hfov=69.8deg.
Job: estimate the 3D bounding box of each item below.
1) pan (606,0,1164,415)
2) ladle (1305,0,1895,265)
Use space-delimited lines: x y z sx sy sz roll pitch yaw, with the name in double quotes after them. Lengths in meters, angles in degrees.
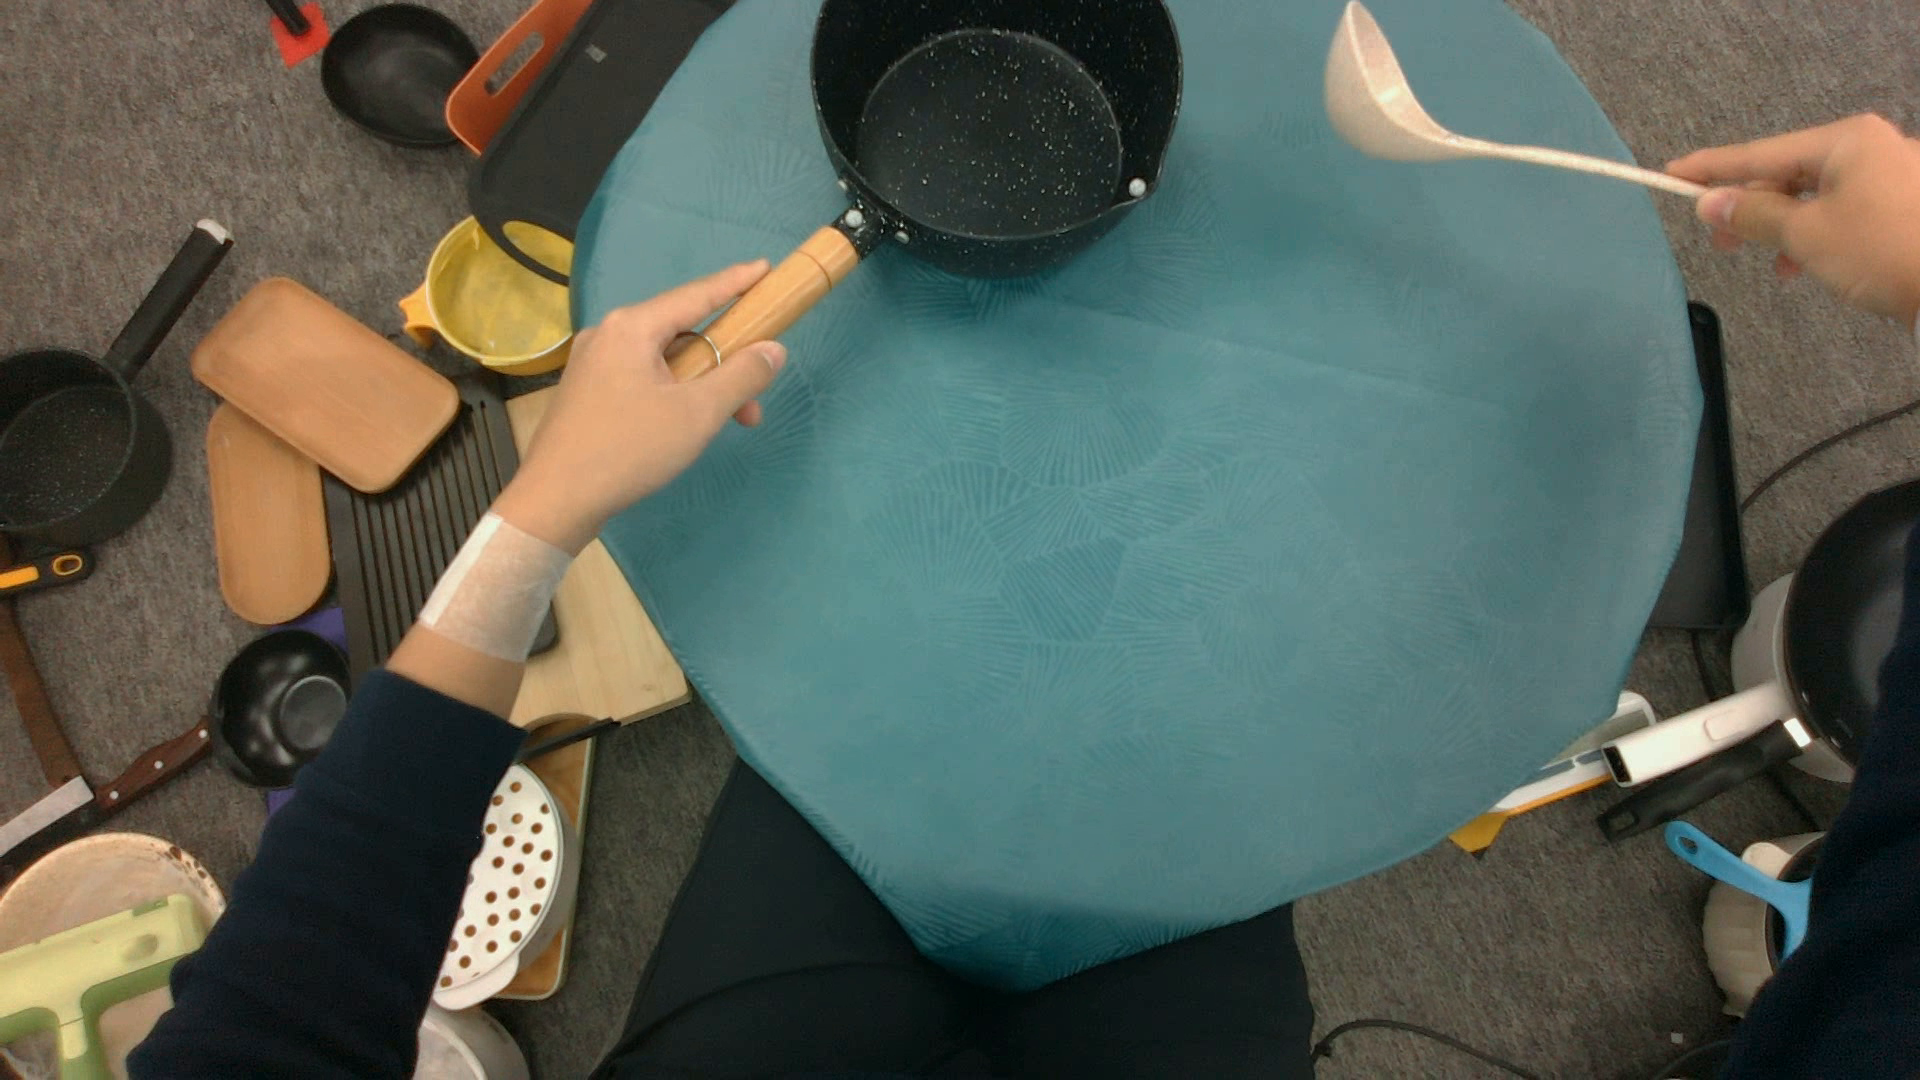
-0.042 -0.175 0.691 0.207 0.108 0.343 39 77 5 "pan"
0.295 -0.196 0.638 0.274 0.089 0.069 19 109 18 "ladle"
